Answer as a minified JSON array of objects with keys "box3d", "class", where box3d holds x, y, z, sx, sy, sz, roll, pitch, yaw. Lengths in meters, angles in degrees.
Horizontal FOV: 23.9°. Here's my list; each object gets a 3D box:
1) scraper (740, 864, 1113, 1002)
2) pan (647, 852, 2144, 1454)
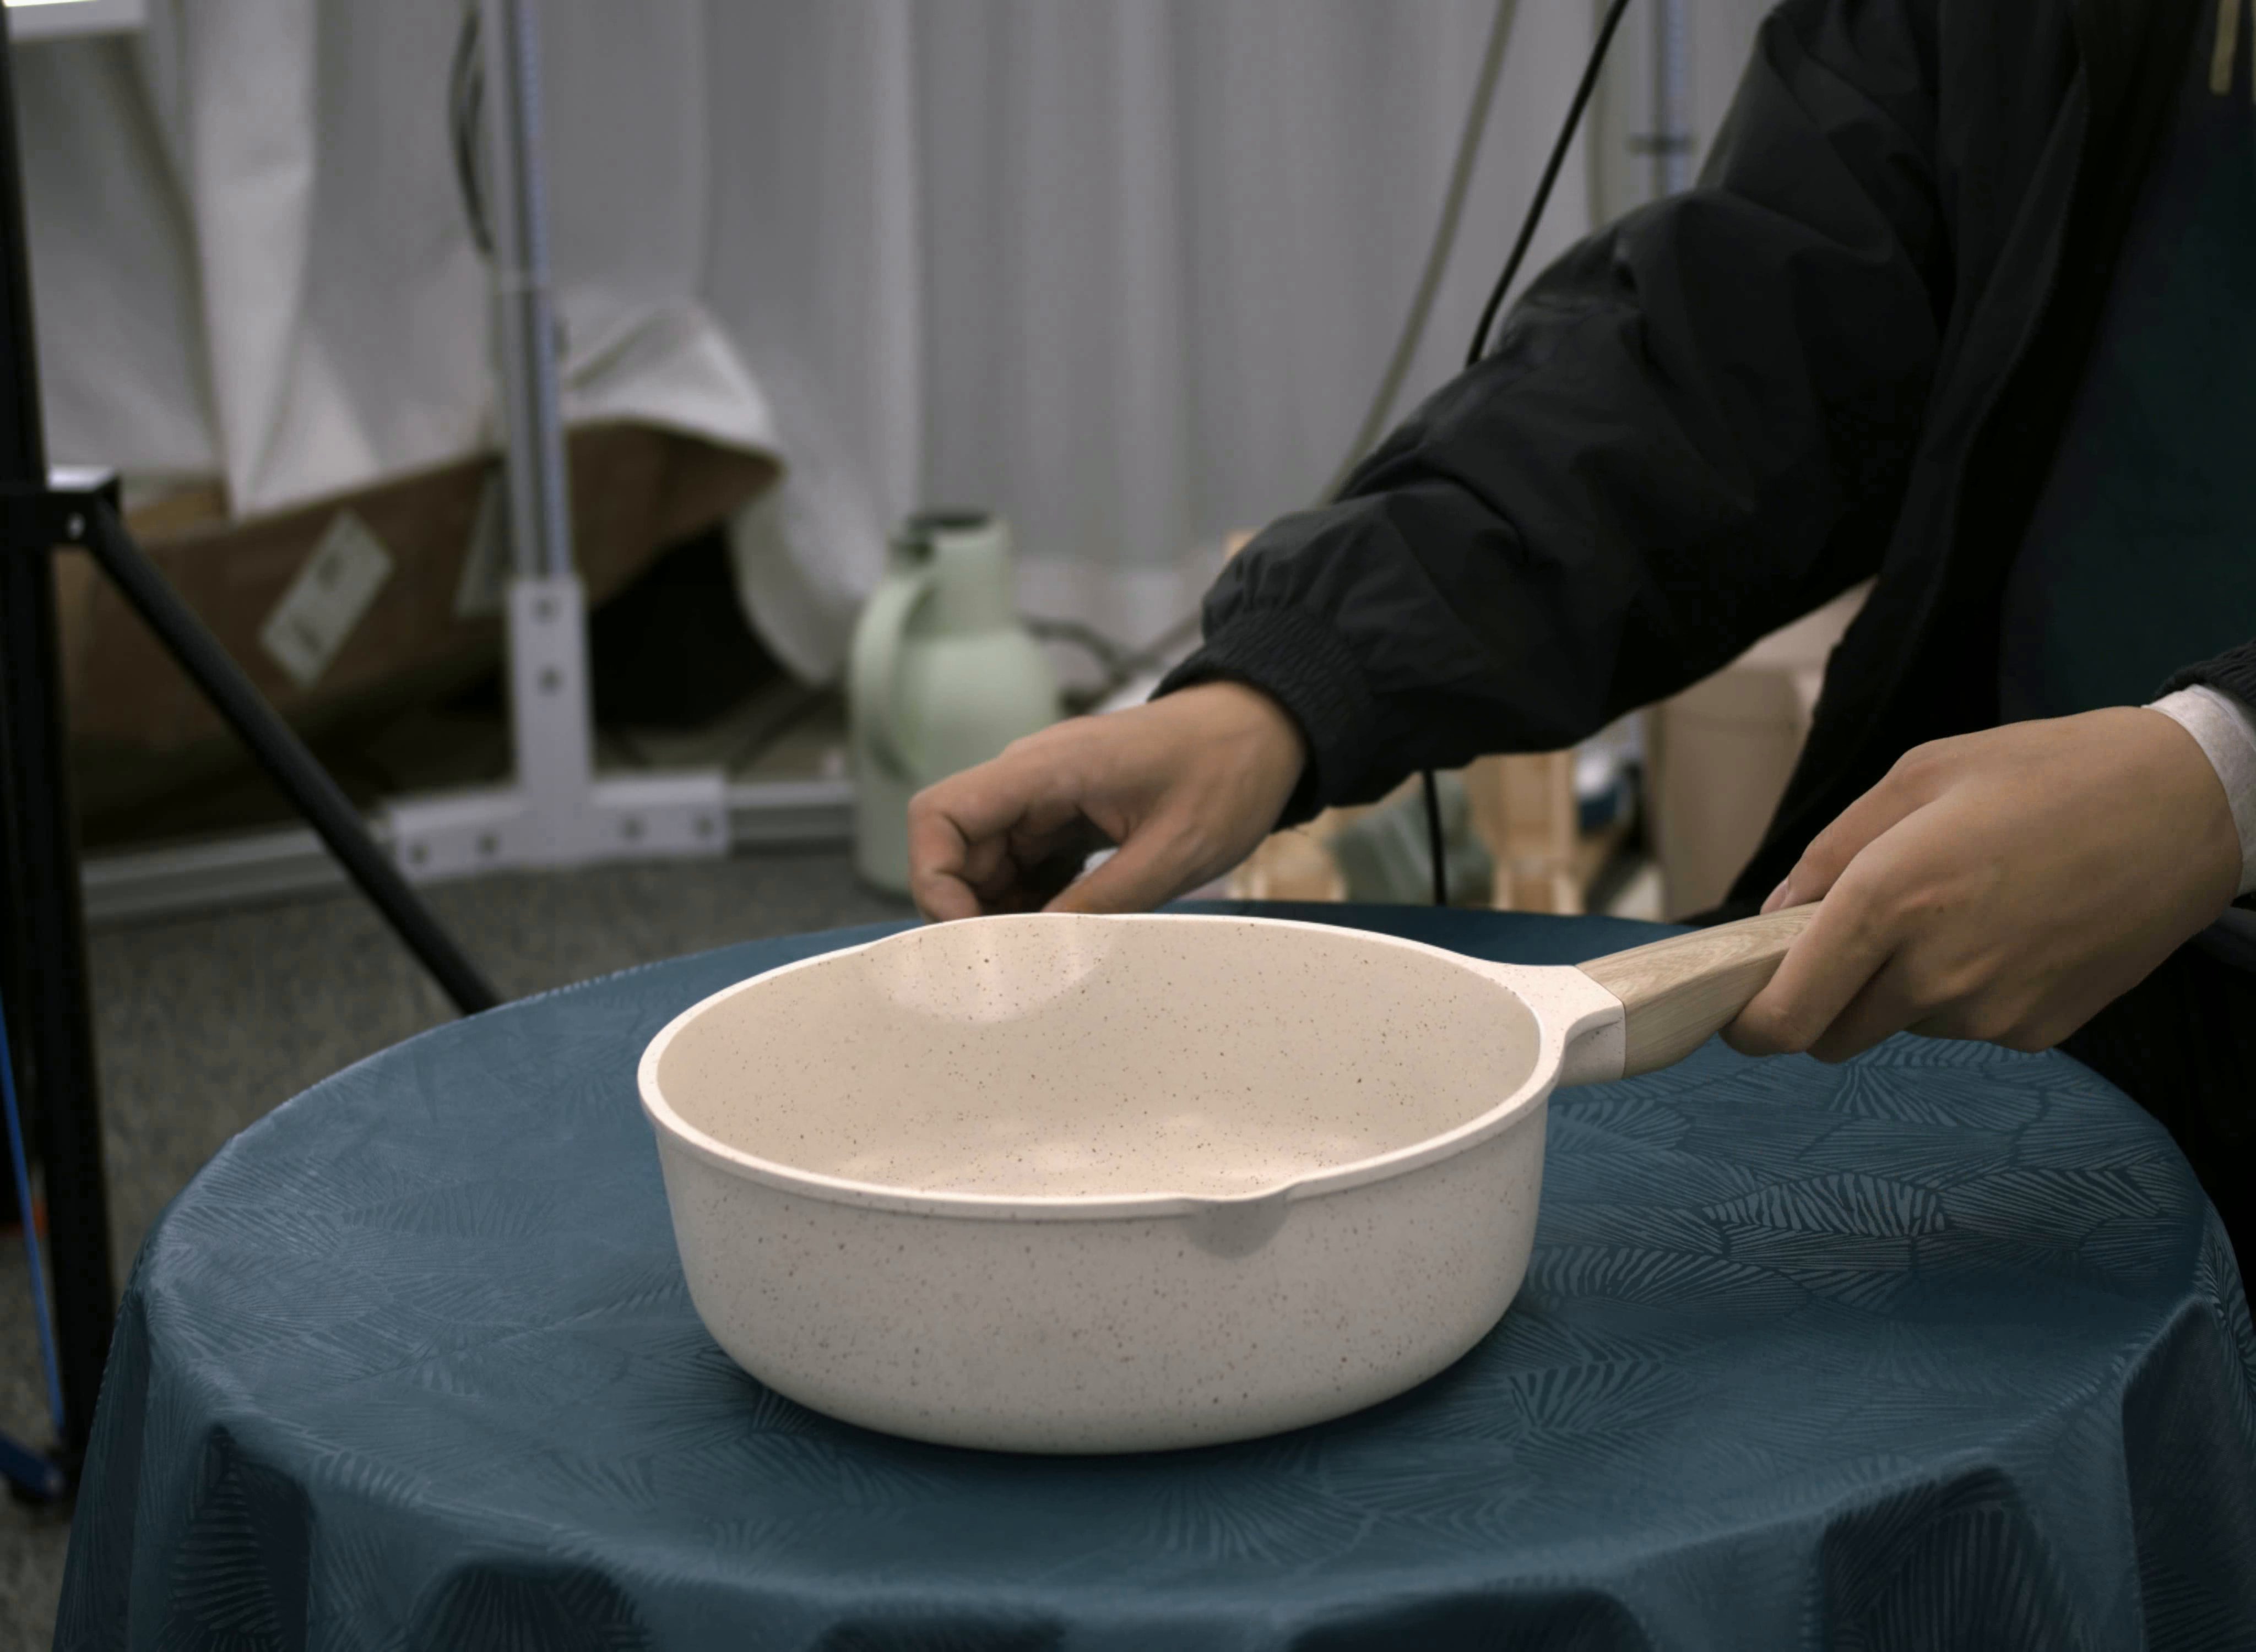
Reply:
[{"box3d":[-0.054,0.050,1.695,0.076,0.011,0.208,33,27,11],"class":"scraper"},{"box3d":[0.084,0.082,1.458,0.428,0.102,0.267,-6,15,-14],"class":"pan"}]
